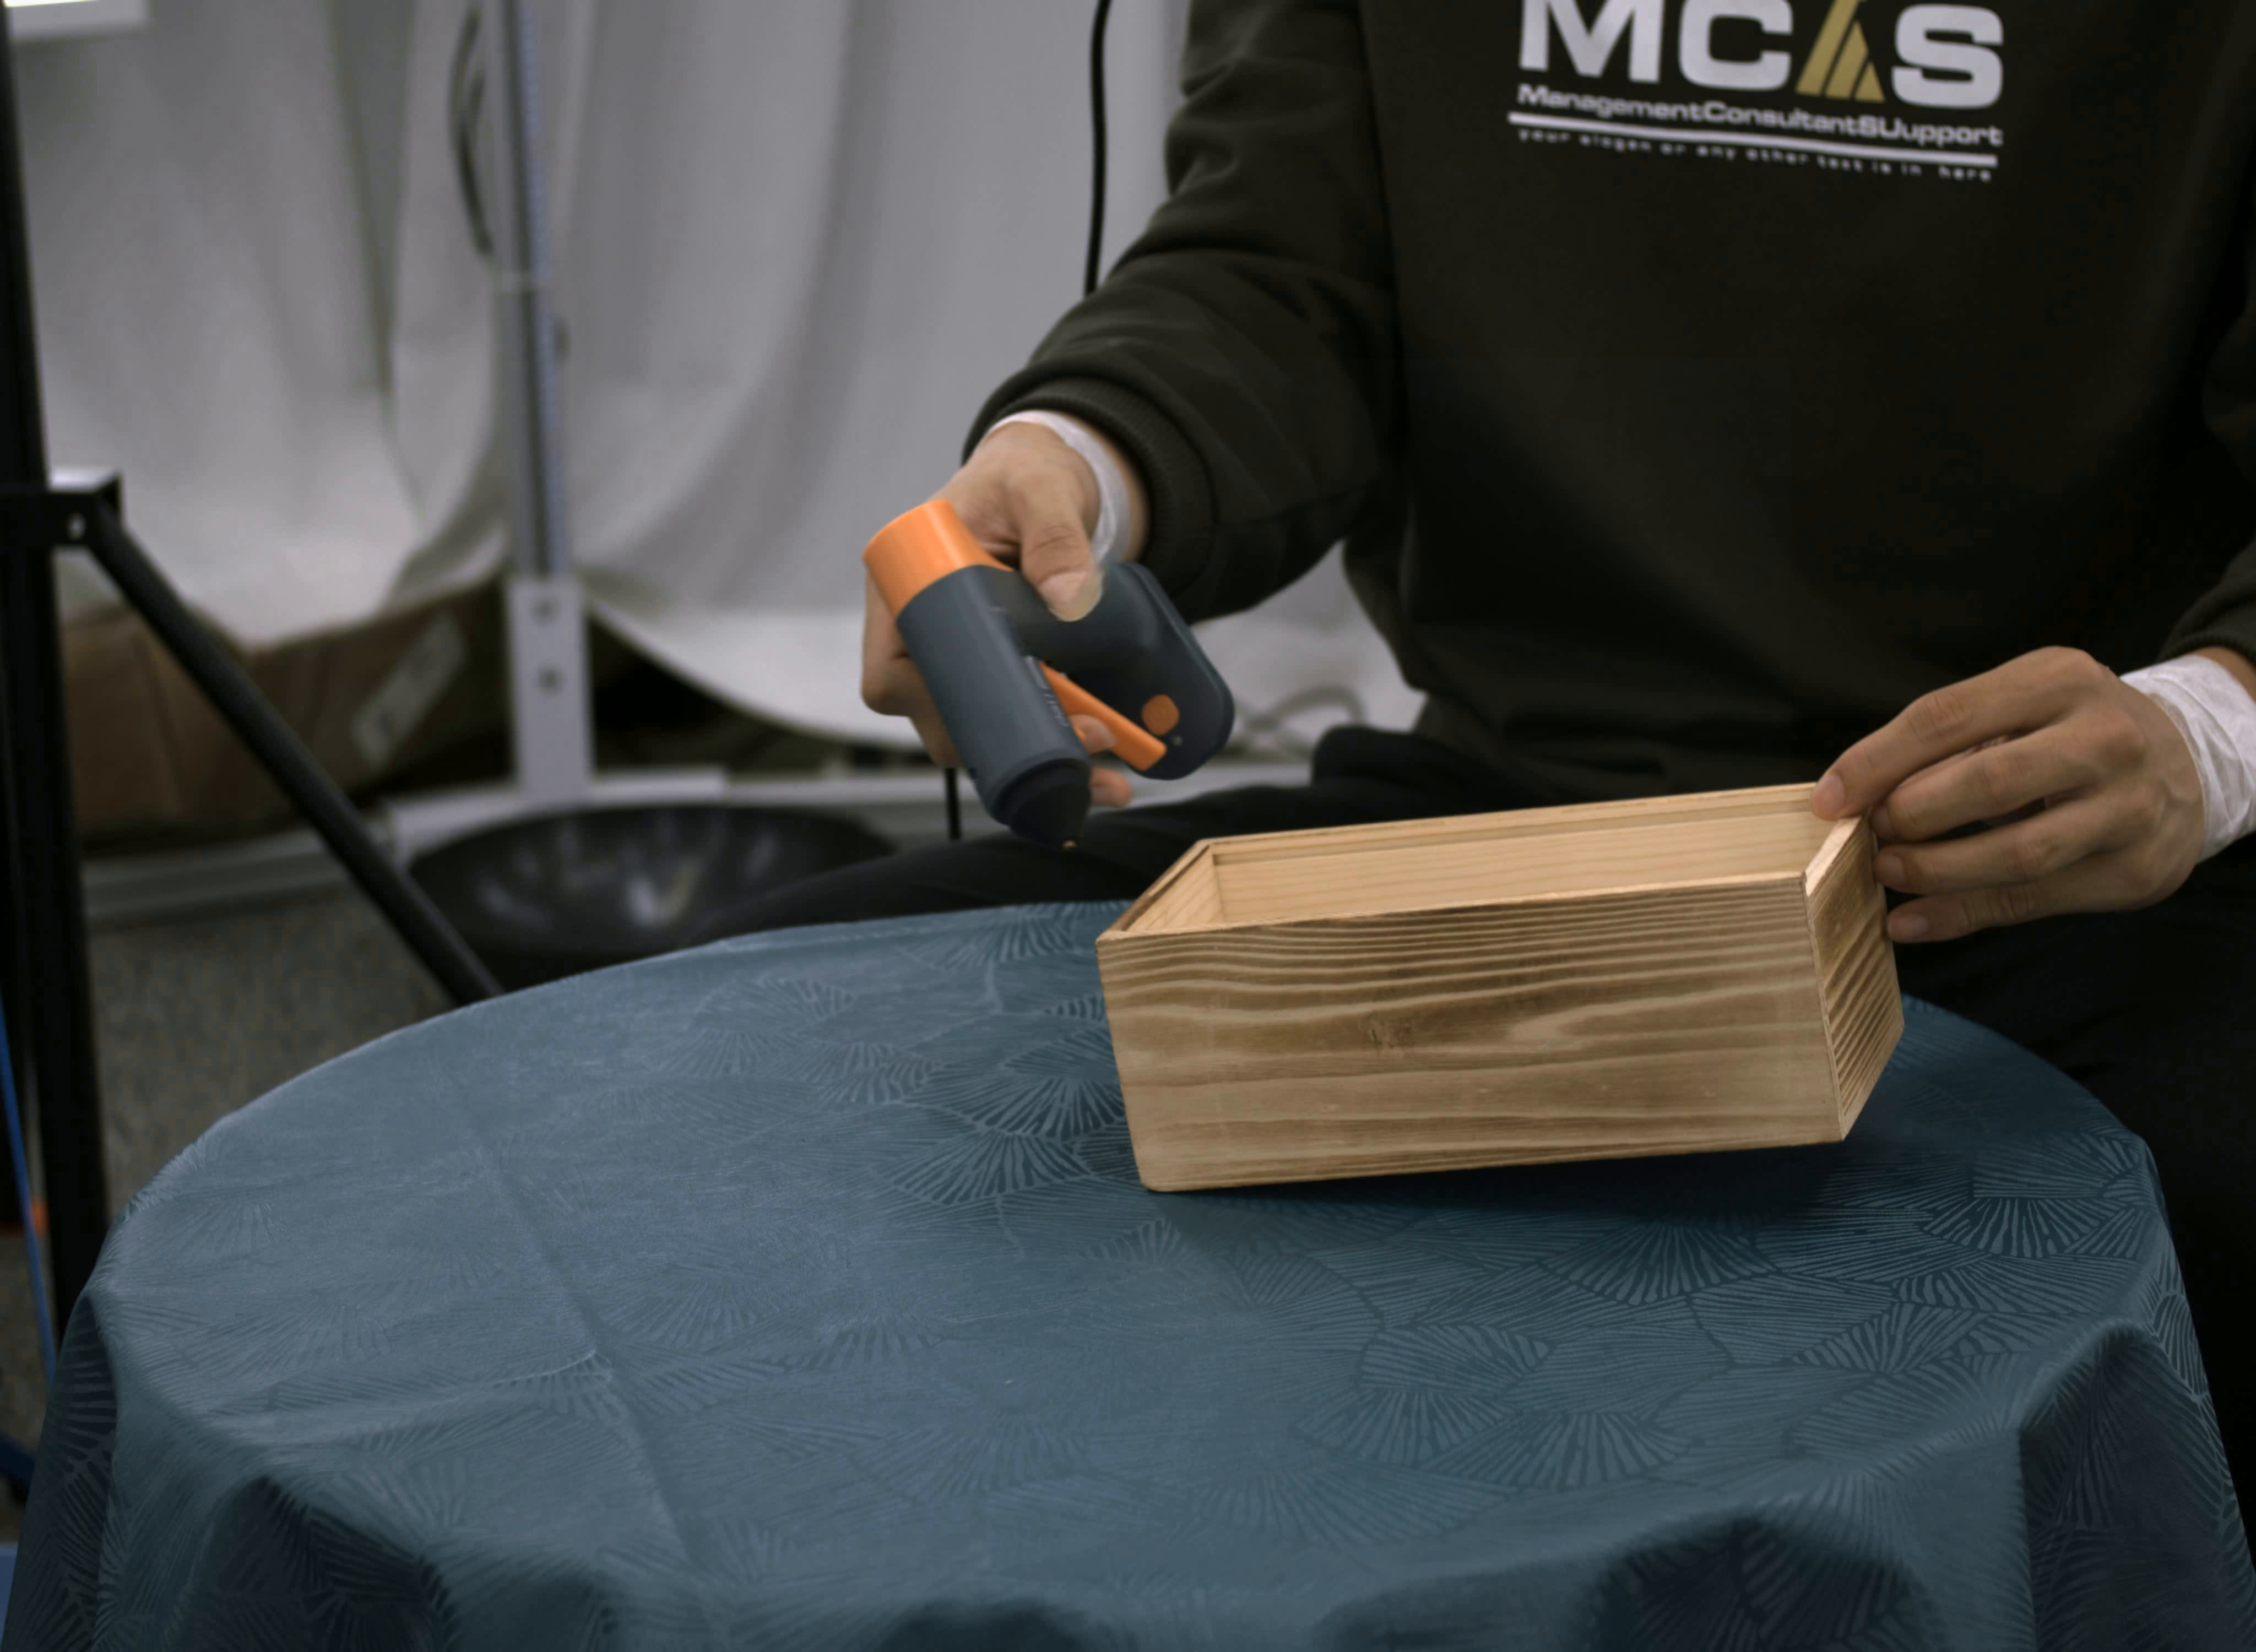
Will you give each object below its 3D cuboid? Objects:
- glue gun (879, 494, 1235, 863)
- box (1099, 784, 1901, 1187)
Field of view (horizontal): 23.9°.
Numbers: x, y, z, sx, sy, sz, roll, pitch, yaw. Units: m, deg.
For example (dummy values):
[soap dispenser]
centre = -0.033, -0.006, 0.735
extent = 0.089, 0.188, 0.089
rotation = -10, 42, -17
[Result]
[glue gun]
centre = -0.020, -0.043, 1.614
extent = 0.041, 0.119, 0.137
rotation = -35, -13, 23
[box]
centre = 0.111, 0.047, 1.558
extent = 0.214, 0.080, 0.106
rotation = -5, 13, 20
